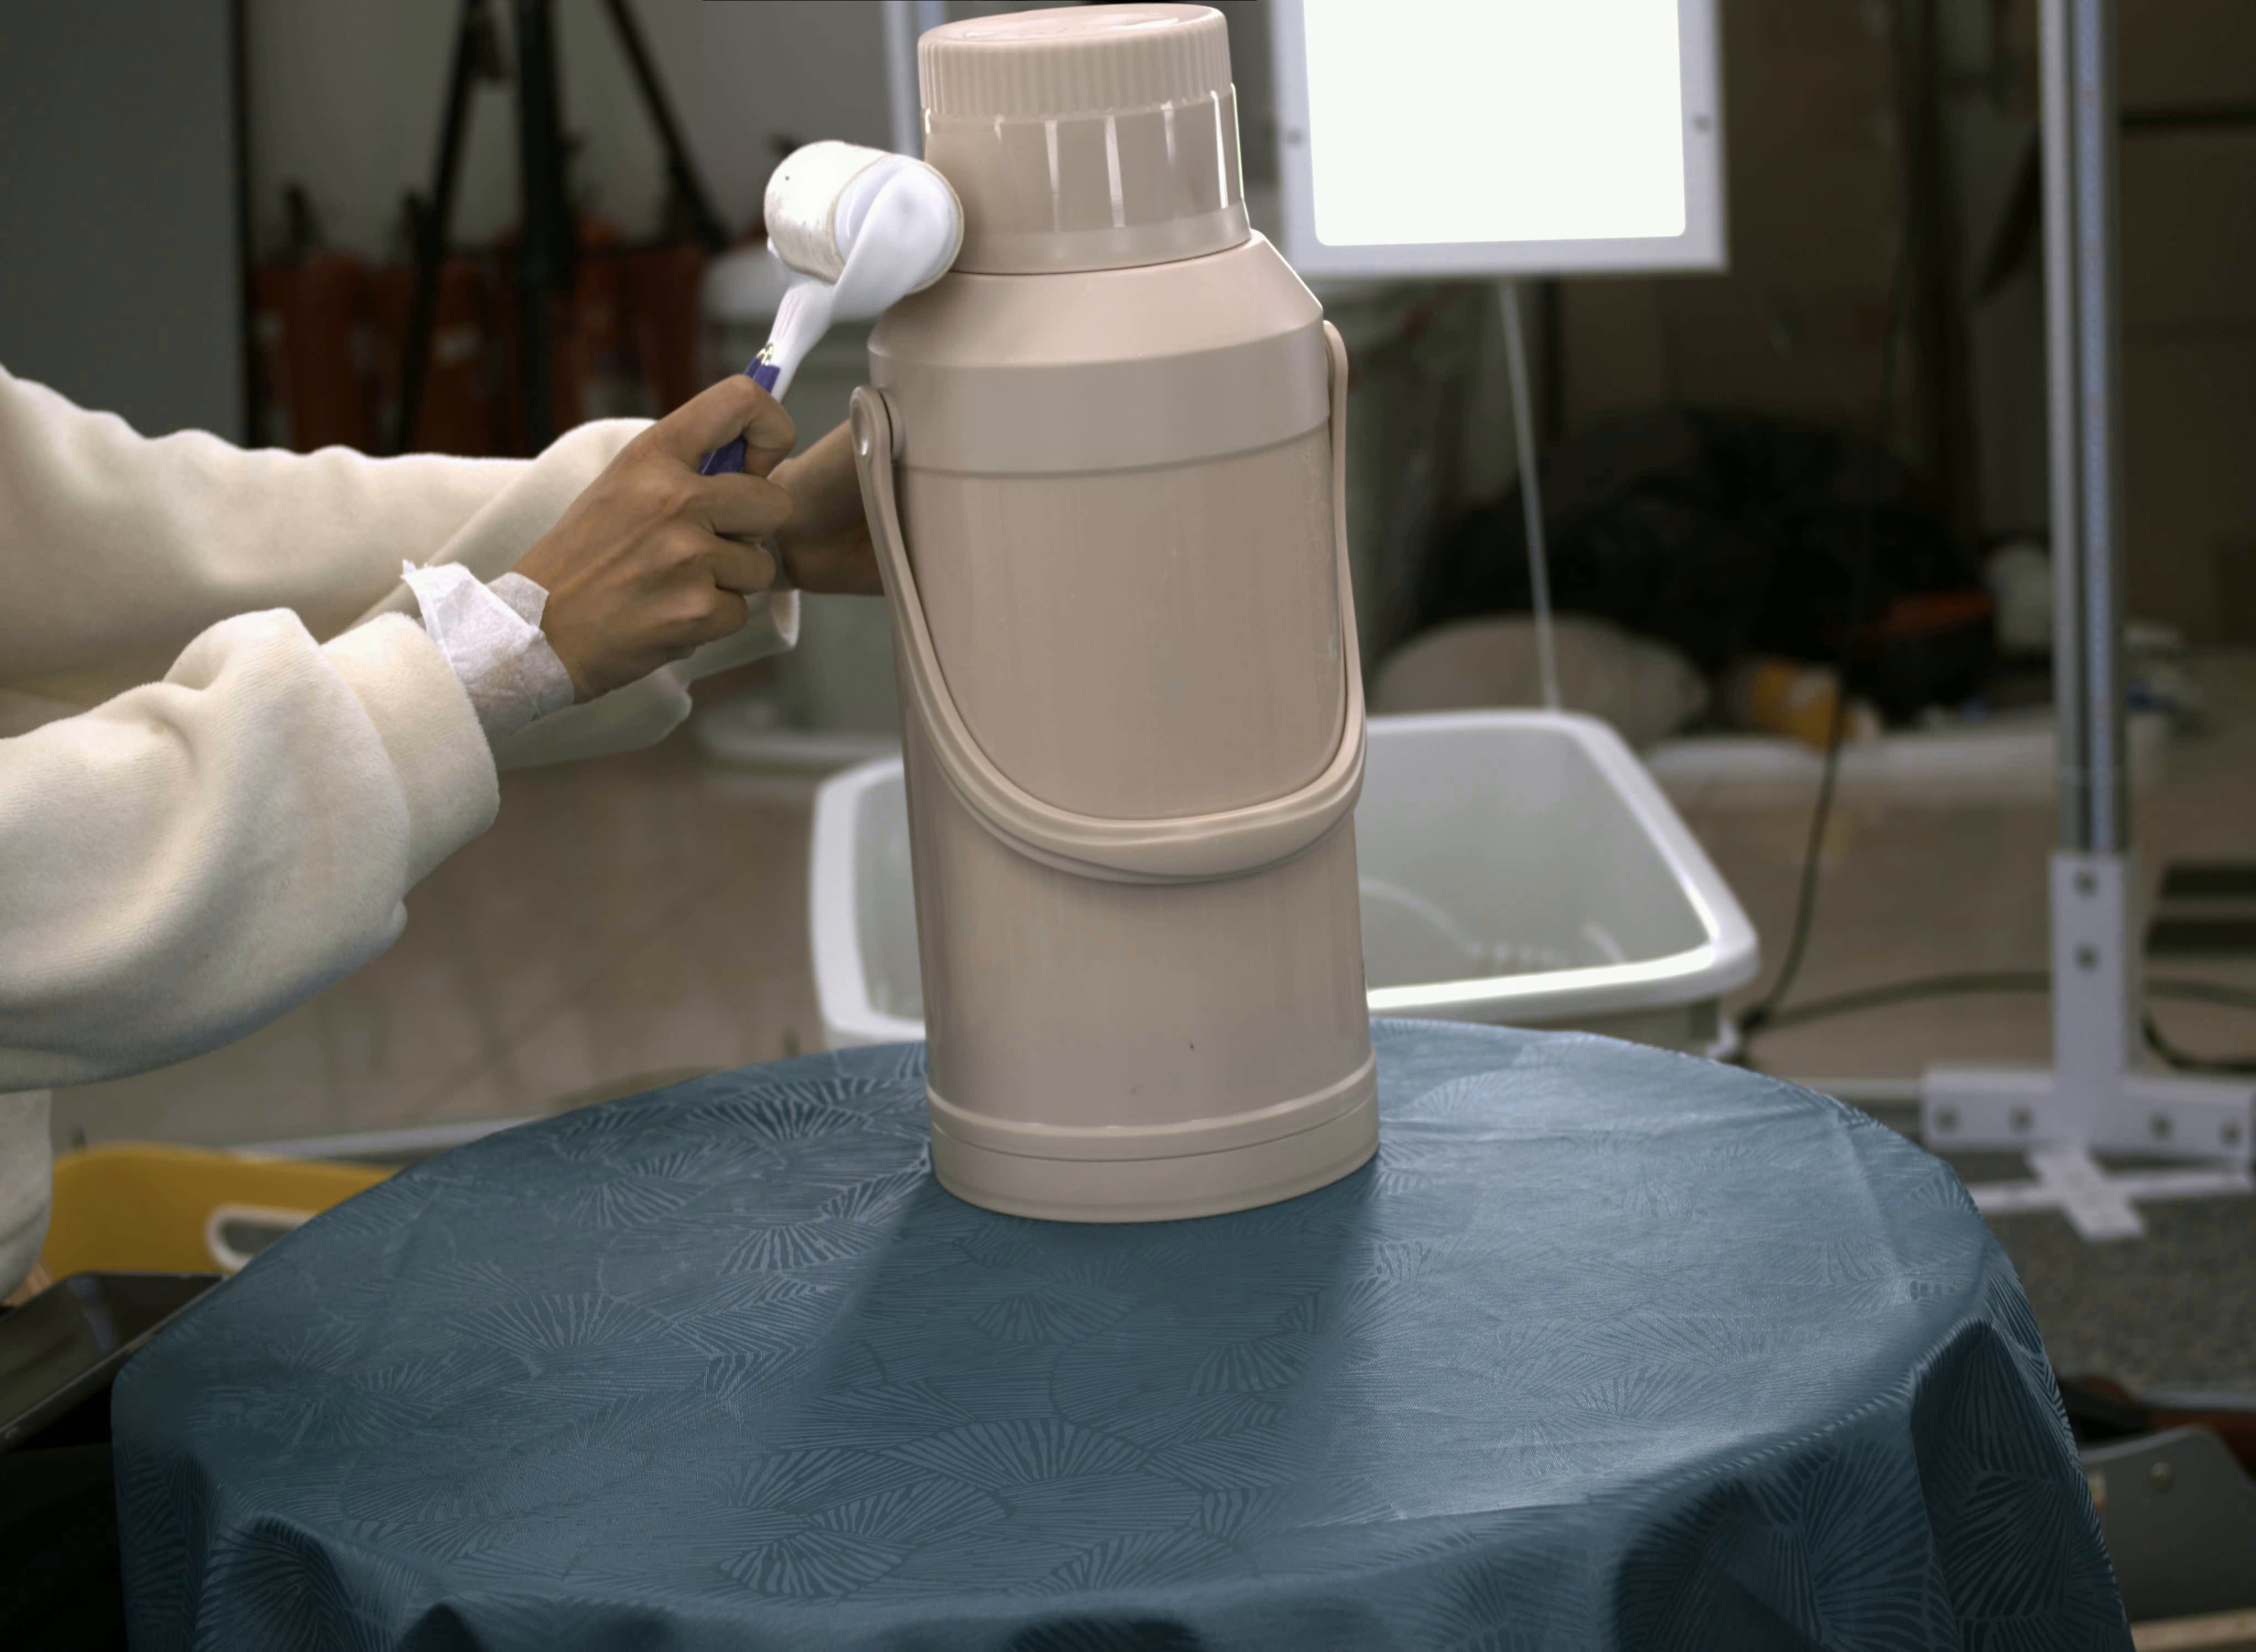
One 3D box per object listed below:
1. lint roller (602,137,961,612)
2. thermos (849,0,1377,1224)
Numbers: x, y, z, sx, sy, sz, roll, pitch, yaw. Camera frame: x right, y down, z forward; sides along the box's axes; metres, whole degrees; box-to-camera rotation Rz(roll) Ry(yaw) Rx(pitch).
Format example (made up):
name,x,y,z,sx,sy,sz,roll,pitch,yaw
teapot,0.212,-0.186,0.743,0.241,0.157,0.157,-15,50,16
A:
name,x,y,z,sx,sy,sz,roll,pitch,yaw
lint roller,-0.131,-0.155,1.845,0.181,0.049,0.134,-50,19,0
thermos,-0.008,-0.078,1.904,0.172,0.408,0.210,-10,15,-20
